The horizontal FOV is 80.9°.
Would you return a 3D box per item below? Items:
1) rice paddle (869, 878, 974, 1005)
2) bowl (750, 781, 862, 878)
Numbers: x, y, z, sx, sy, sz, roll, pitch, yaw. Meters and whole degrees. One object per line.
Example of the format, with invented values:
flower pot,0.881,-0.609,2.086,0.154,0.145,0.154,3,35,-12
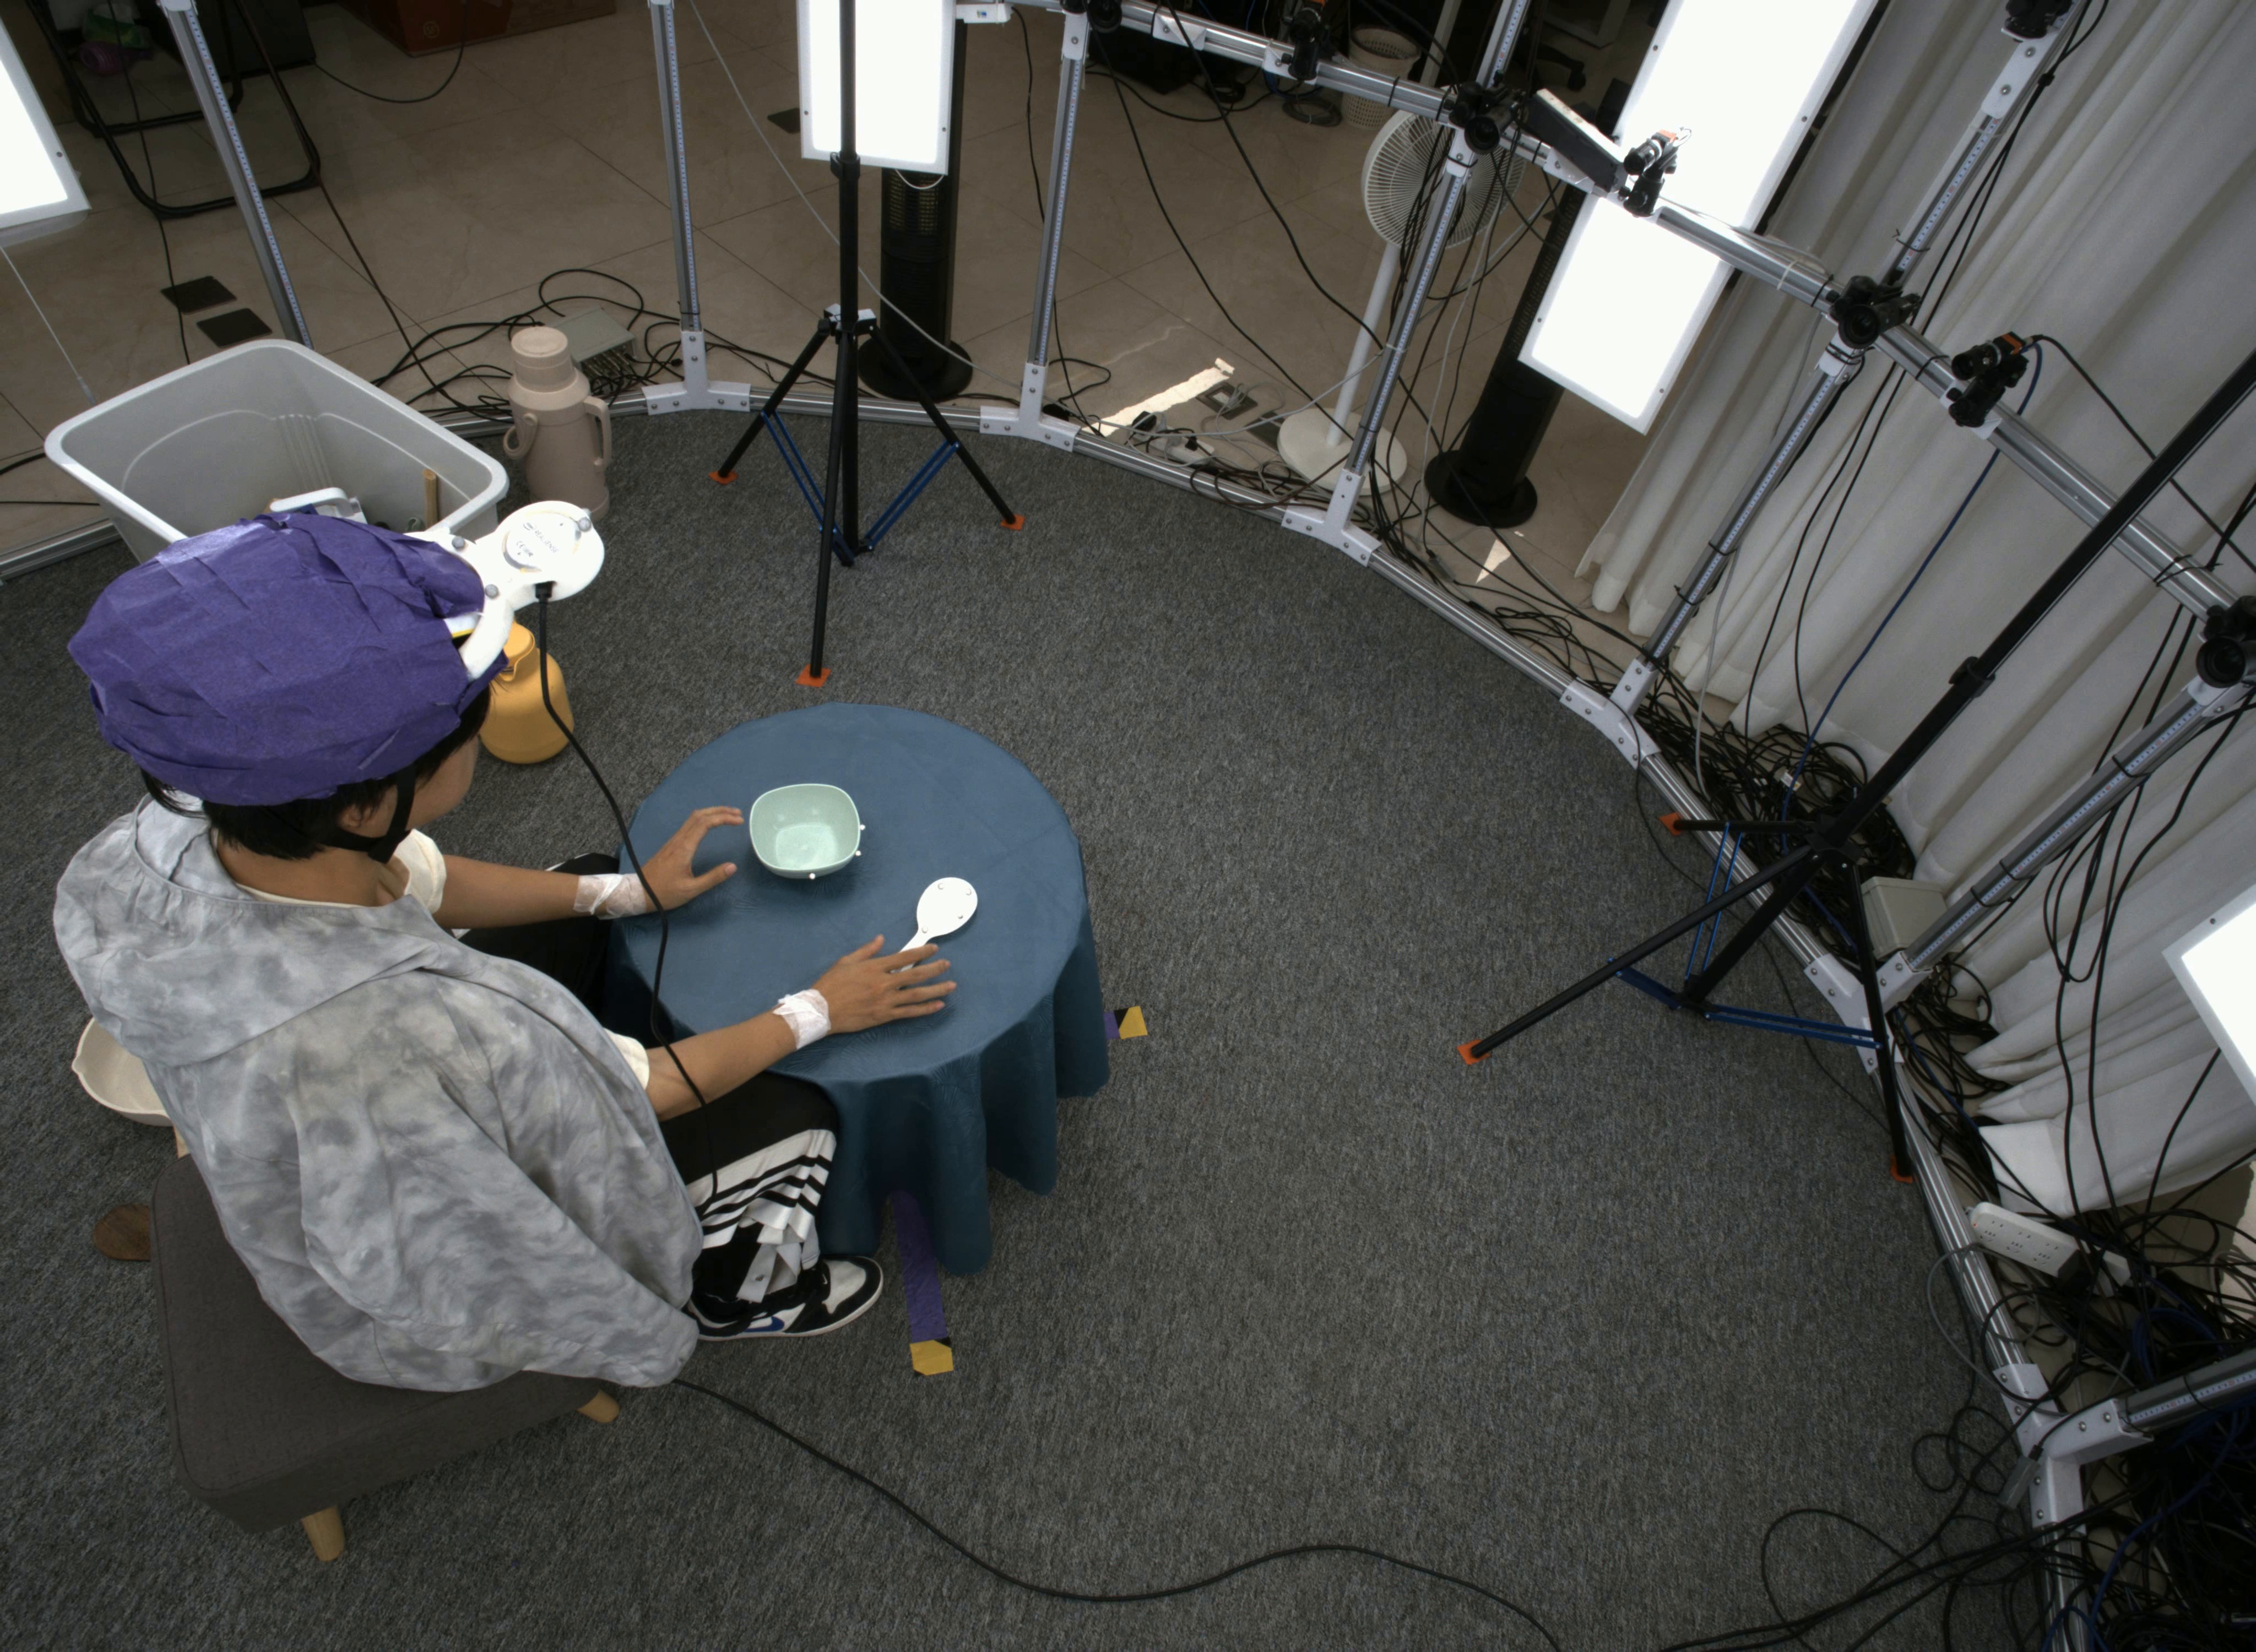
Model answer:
rice paddle,-0.260,0.137,1.645,0.068,0.030,0.204,28,53,6
bowl,-0.417,0.014,1.678,0.151,0.059,0.149,9,54,-11
